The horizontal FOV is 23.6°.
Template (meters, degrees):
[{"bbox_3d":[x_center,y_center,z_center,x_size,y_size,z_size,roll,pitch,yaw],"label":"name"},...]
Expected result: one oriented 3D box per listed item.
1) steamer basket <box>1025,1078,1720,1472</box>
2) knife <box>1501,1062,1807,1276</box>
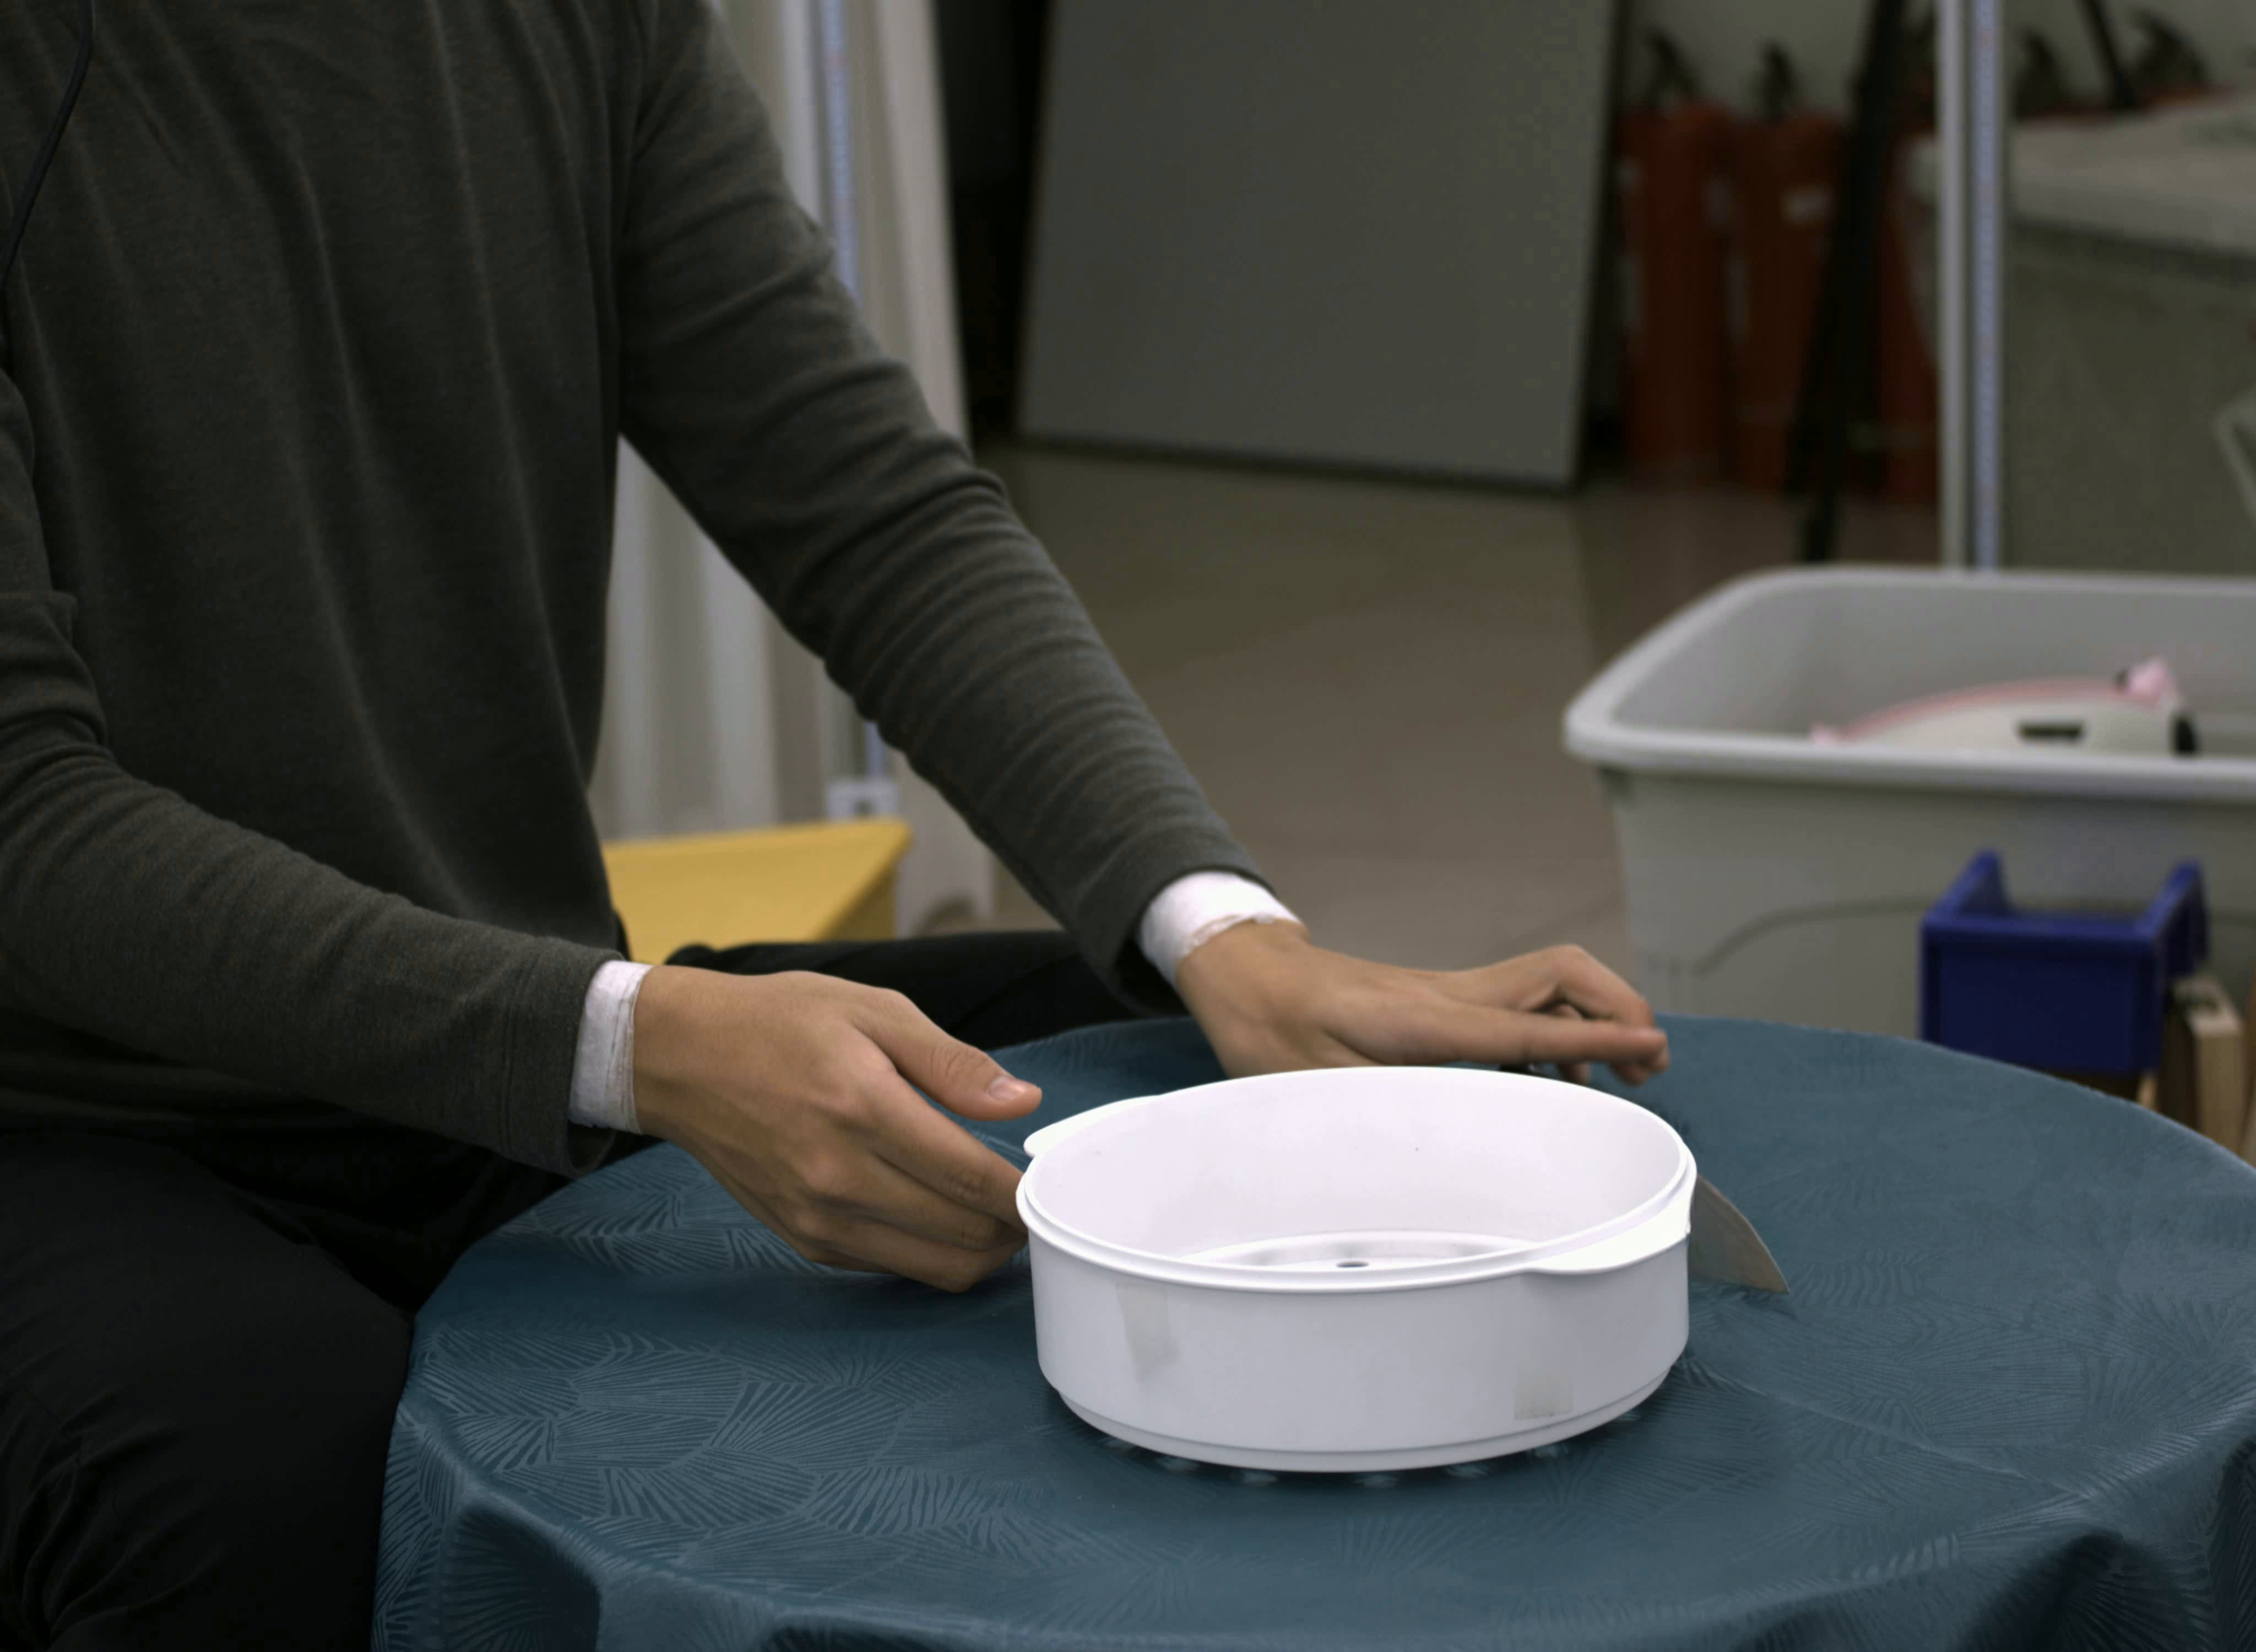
[{"bbox_3d":[0.071,0.130,1.574,0.232,0.070,0.198,6,16,43],"label":"steamer basket"},{"bbox_3d":[0.167,0.113,1.721,0.016,0.025,0.240,23,4,-20],"label":"knife"}]
